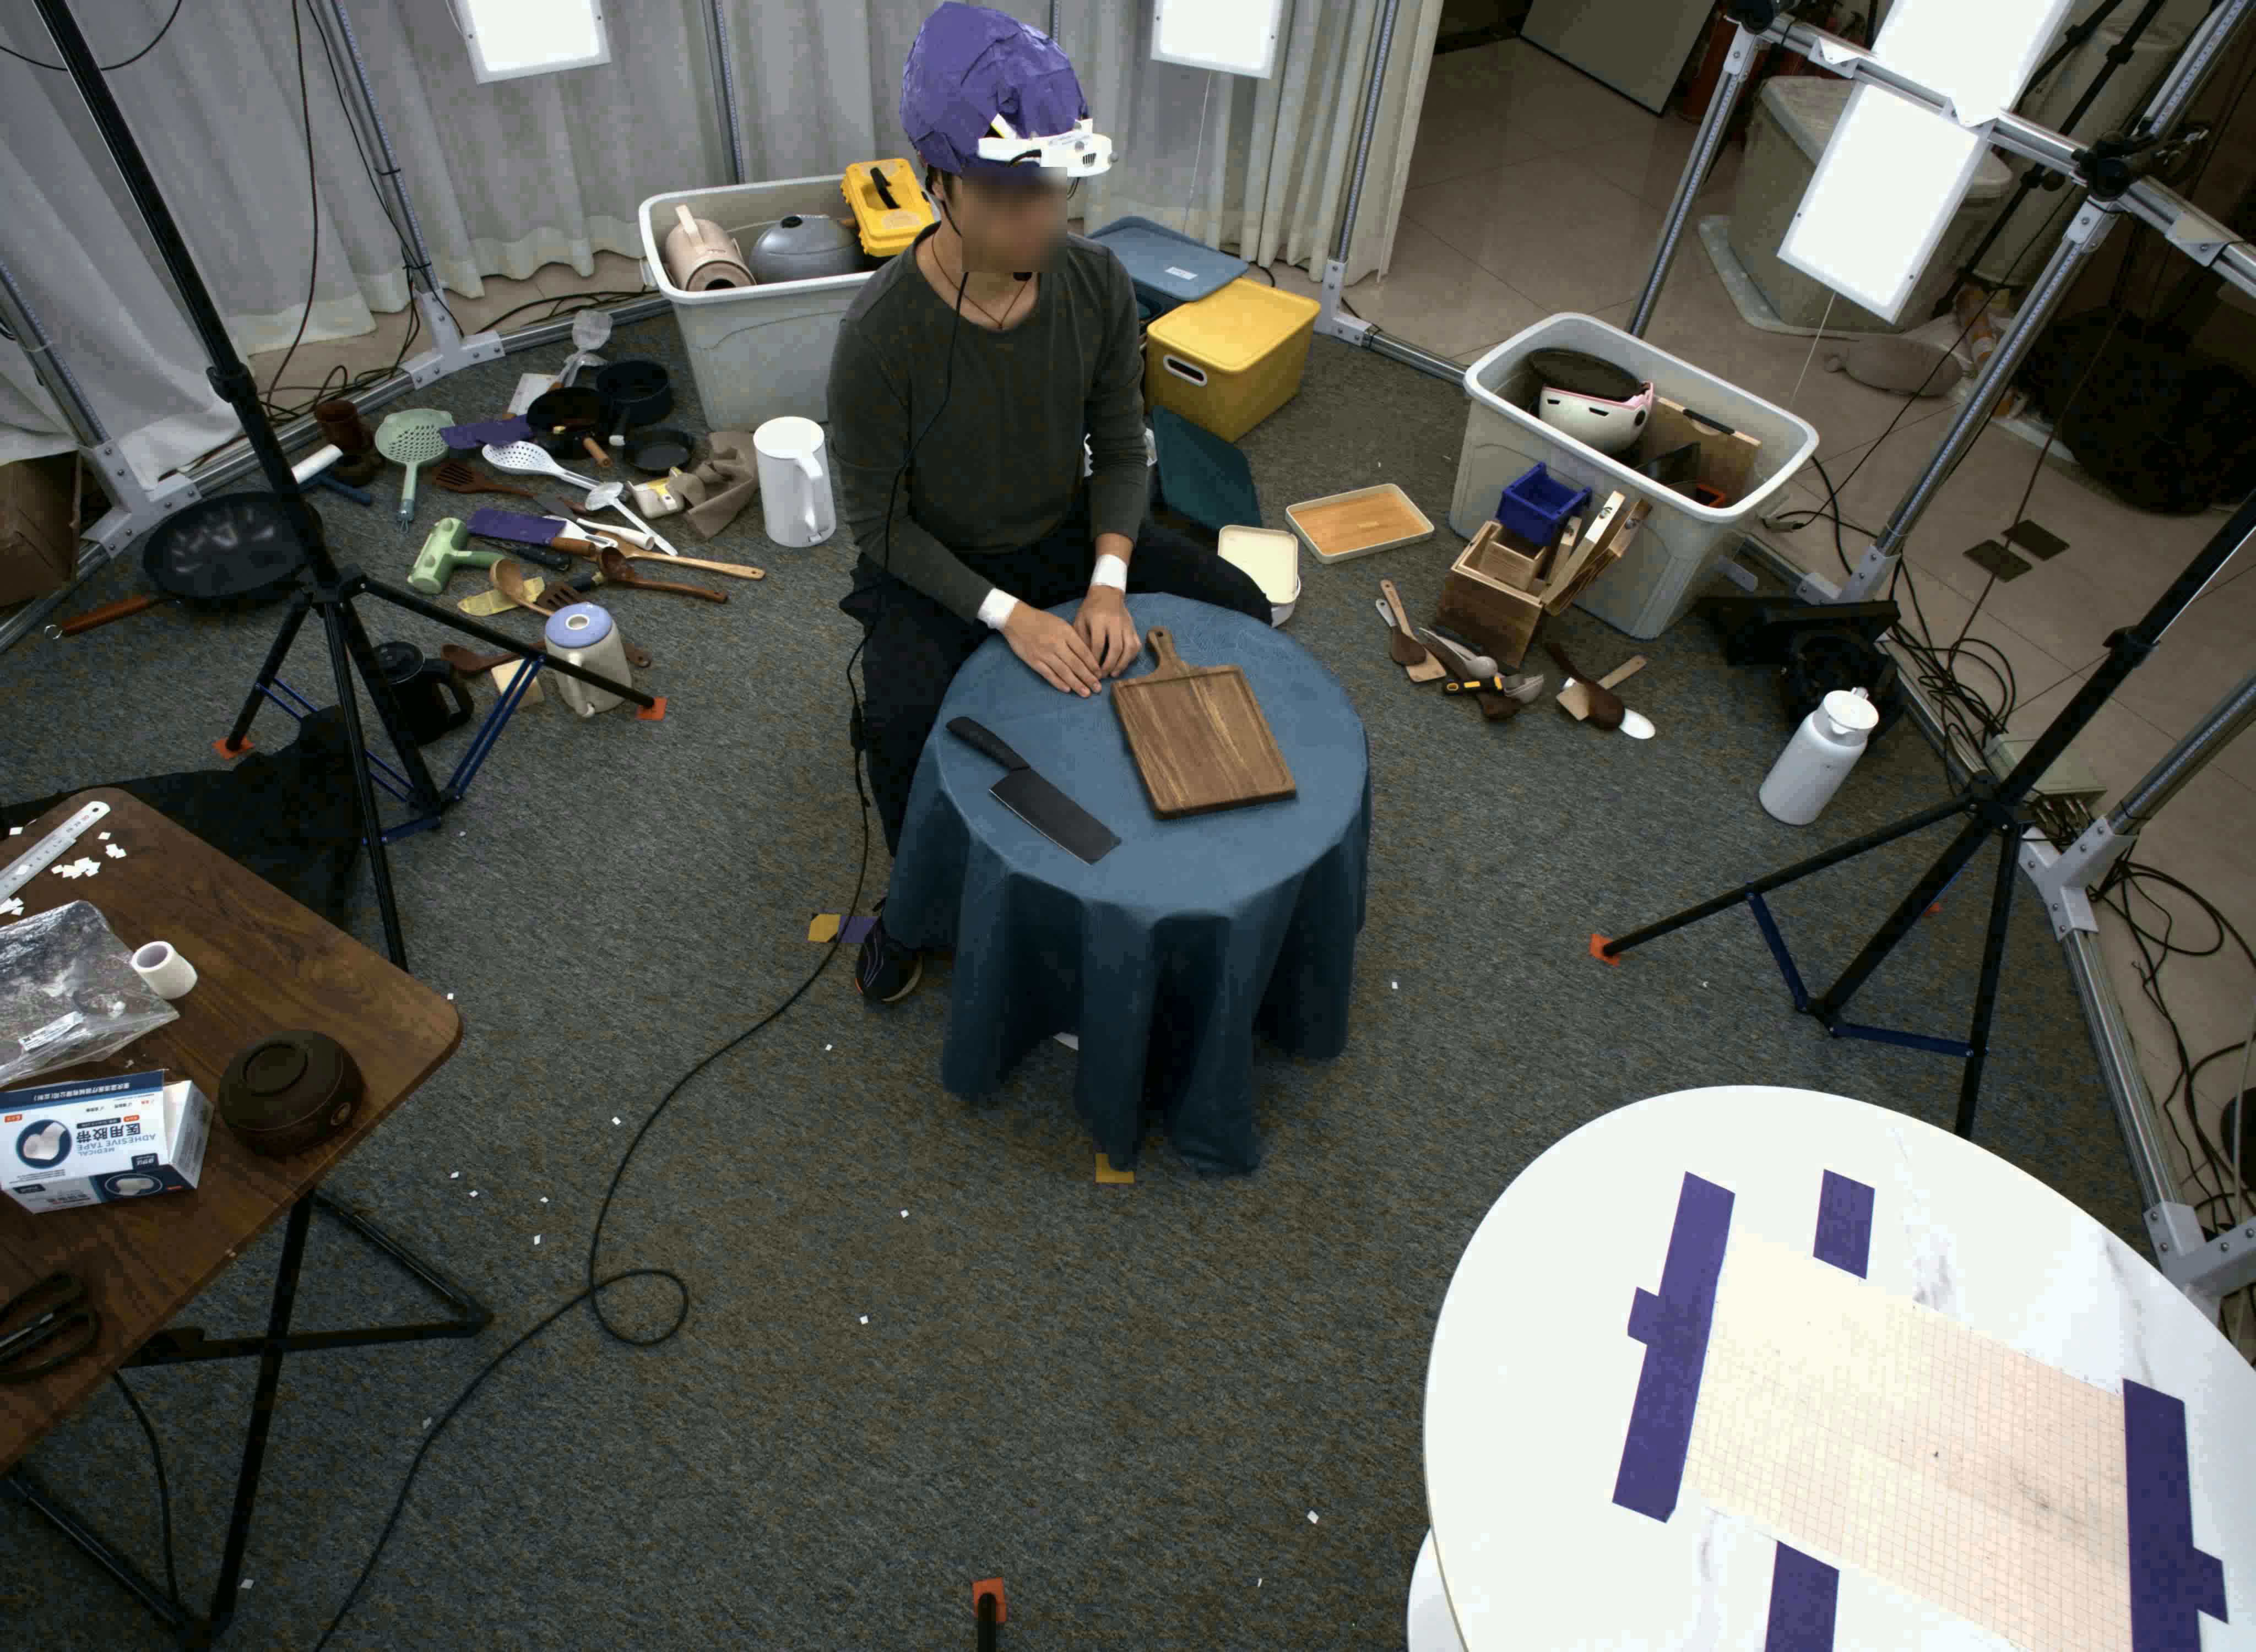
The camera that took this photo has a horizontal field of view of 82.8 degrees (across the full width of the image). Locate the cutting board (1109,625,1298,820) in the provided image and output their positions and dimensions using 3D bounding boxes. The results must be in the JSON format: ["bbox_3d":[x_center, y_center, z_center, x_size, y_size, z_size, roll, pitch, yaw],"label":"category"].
[{"bbox_3d":[0.087,-0.159,1.798,0.201,0.022,0.361,-9,50,-13],"label":"cutting board"}]

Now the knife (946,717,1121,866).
[{"bbox_3d":[-0.136,-0.051,1.694,0.081,0.020,0.307,-34,61,-27],"label":"knife"}]
